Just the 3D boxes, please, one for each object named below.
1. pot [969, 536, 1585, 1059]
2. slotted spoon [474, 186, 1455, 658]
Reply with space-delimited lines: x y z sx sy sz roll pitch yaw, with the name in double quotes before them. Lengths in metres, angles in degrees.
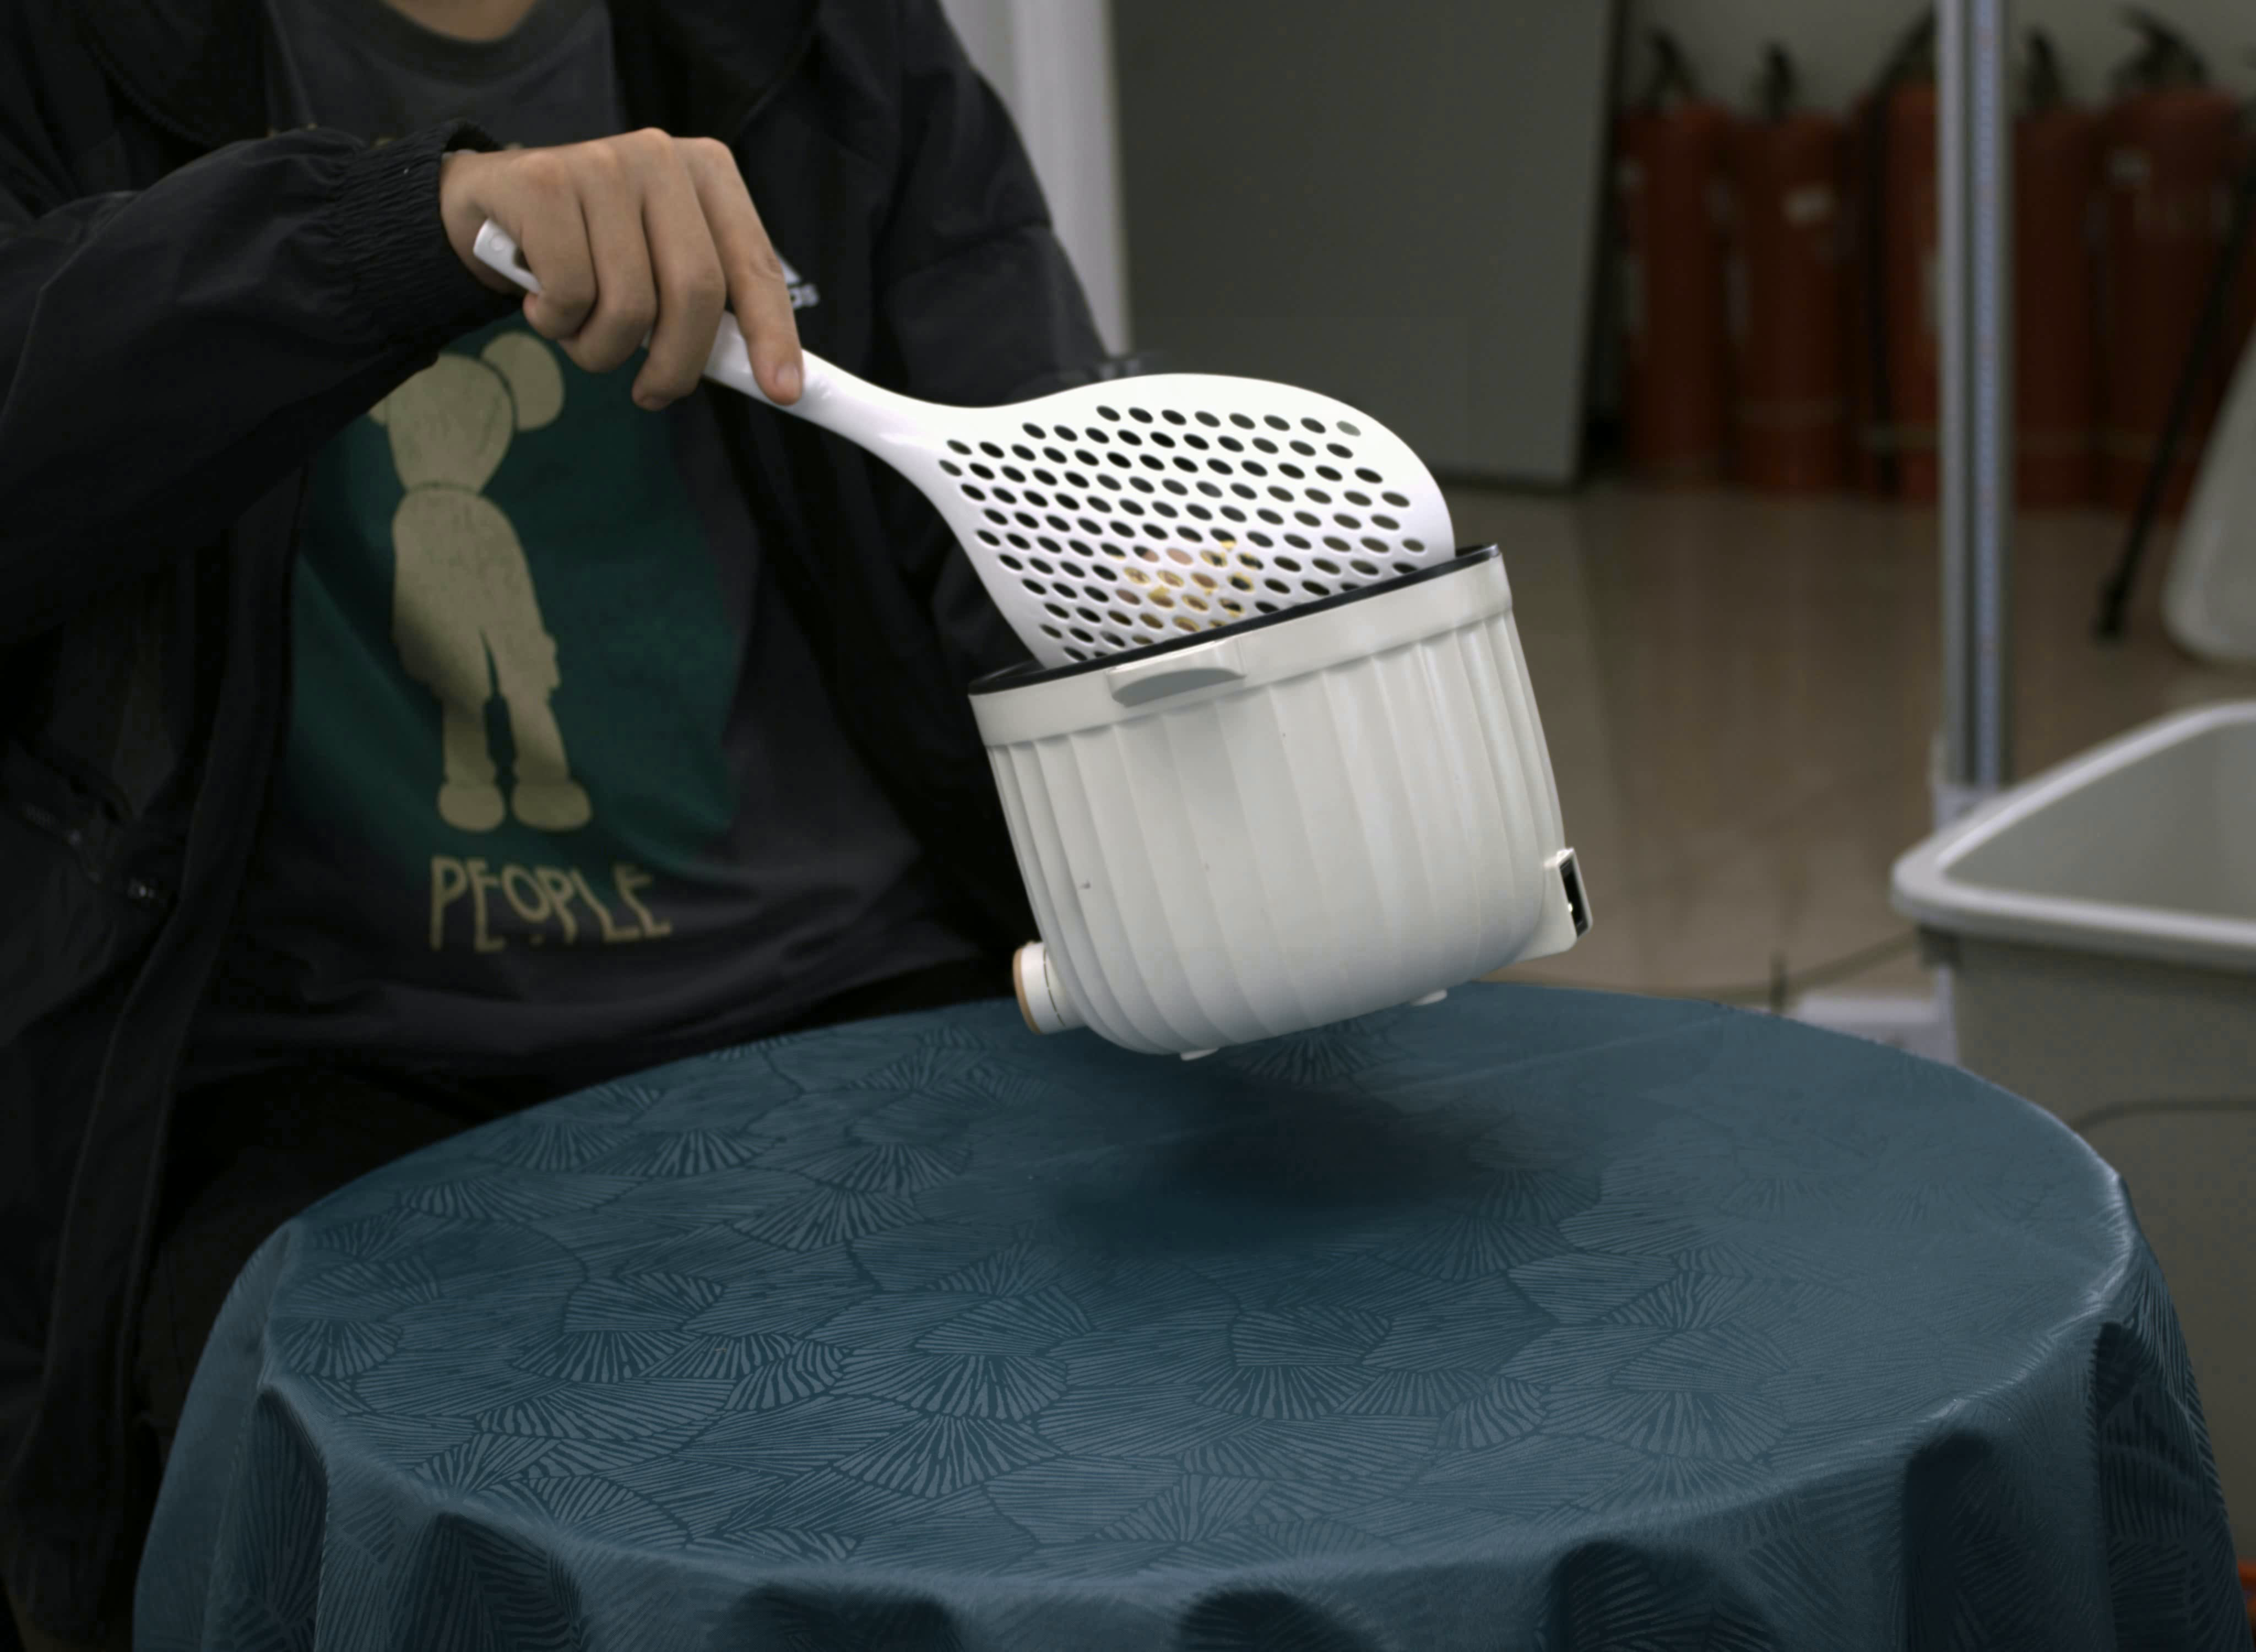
"pot" 0.045 -0.006 1.763 0.190 0.144 0.238 -11 3 15
"slotted spoon" -0.059 -0.127 1.777 0.347 0.138 0.050 26 12 13
